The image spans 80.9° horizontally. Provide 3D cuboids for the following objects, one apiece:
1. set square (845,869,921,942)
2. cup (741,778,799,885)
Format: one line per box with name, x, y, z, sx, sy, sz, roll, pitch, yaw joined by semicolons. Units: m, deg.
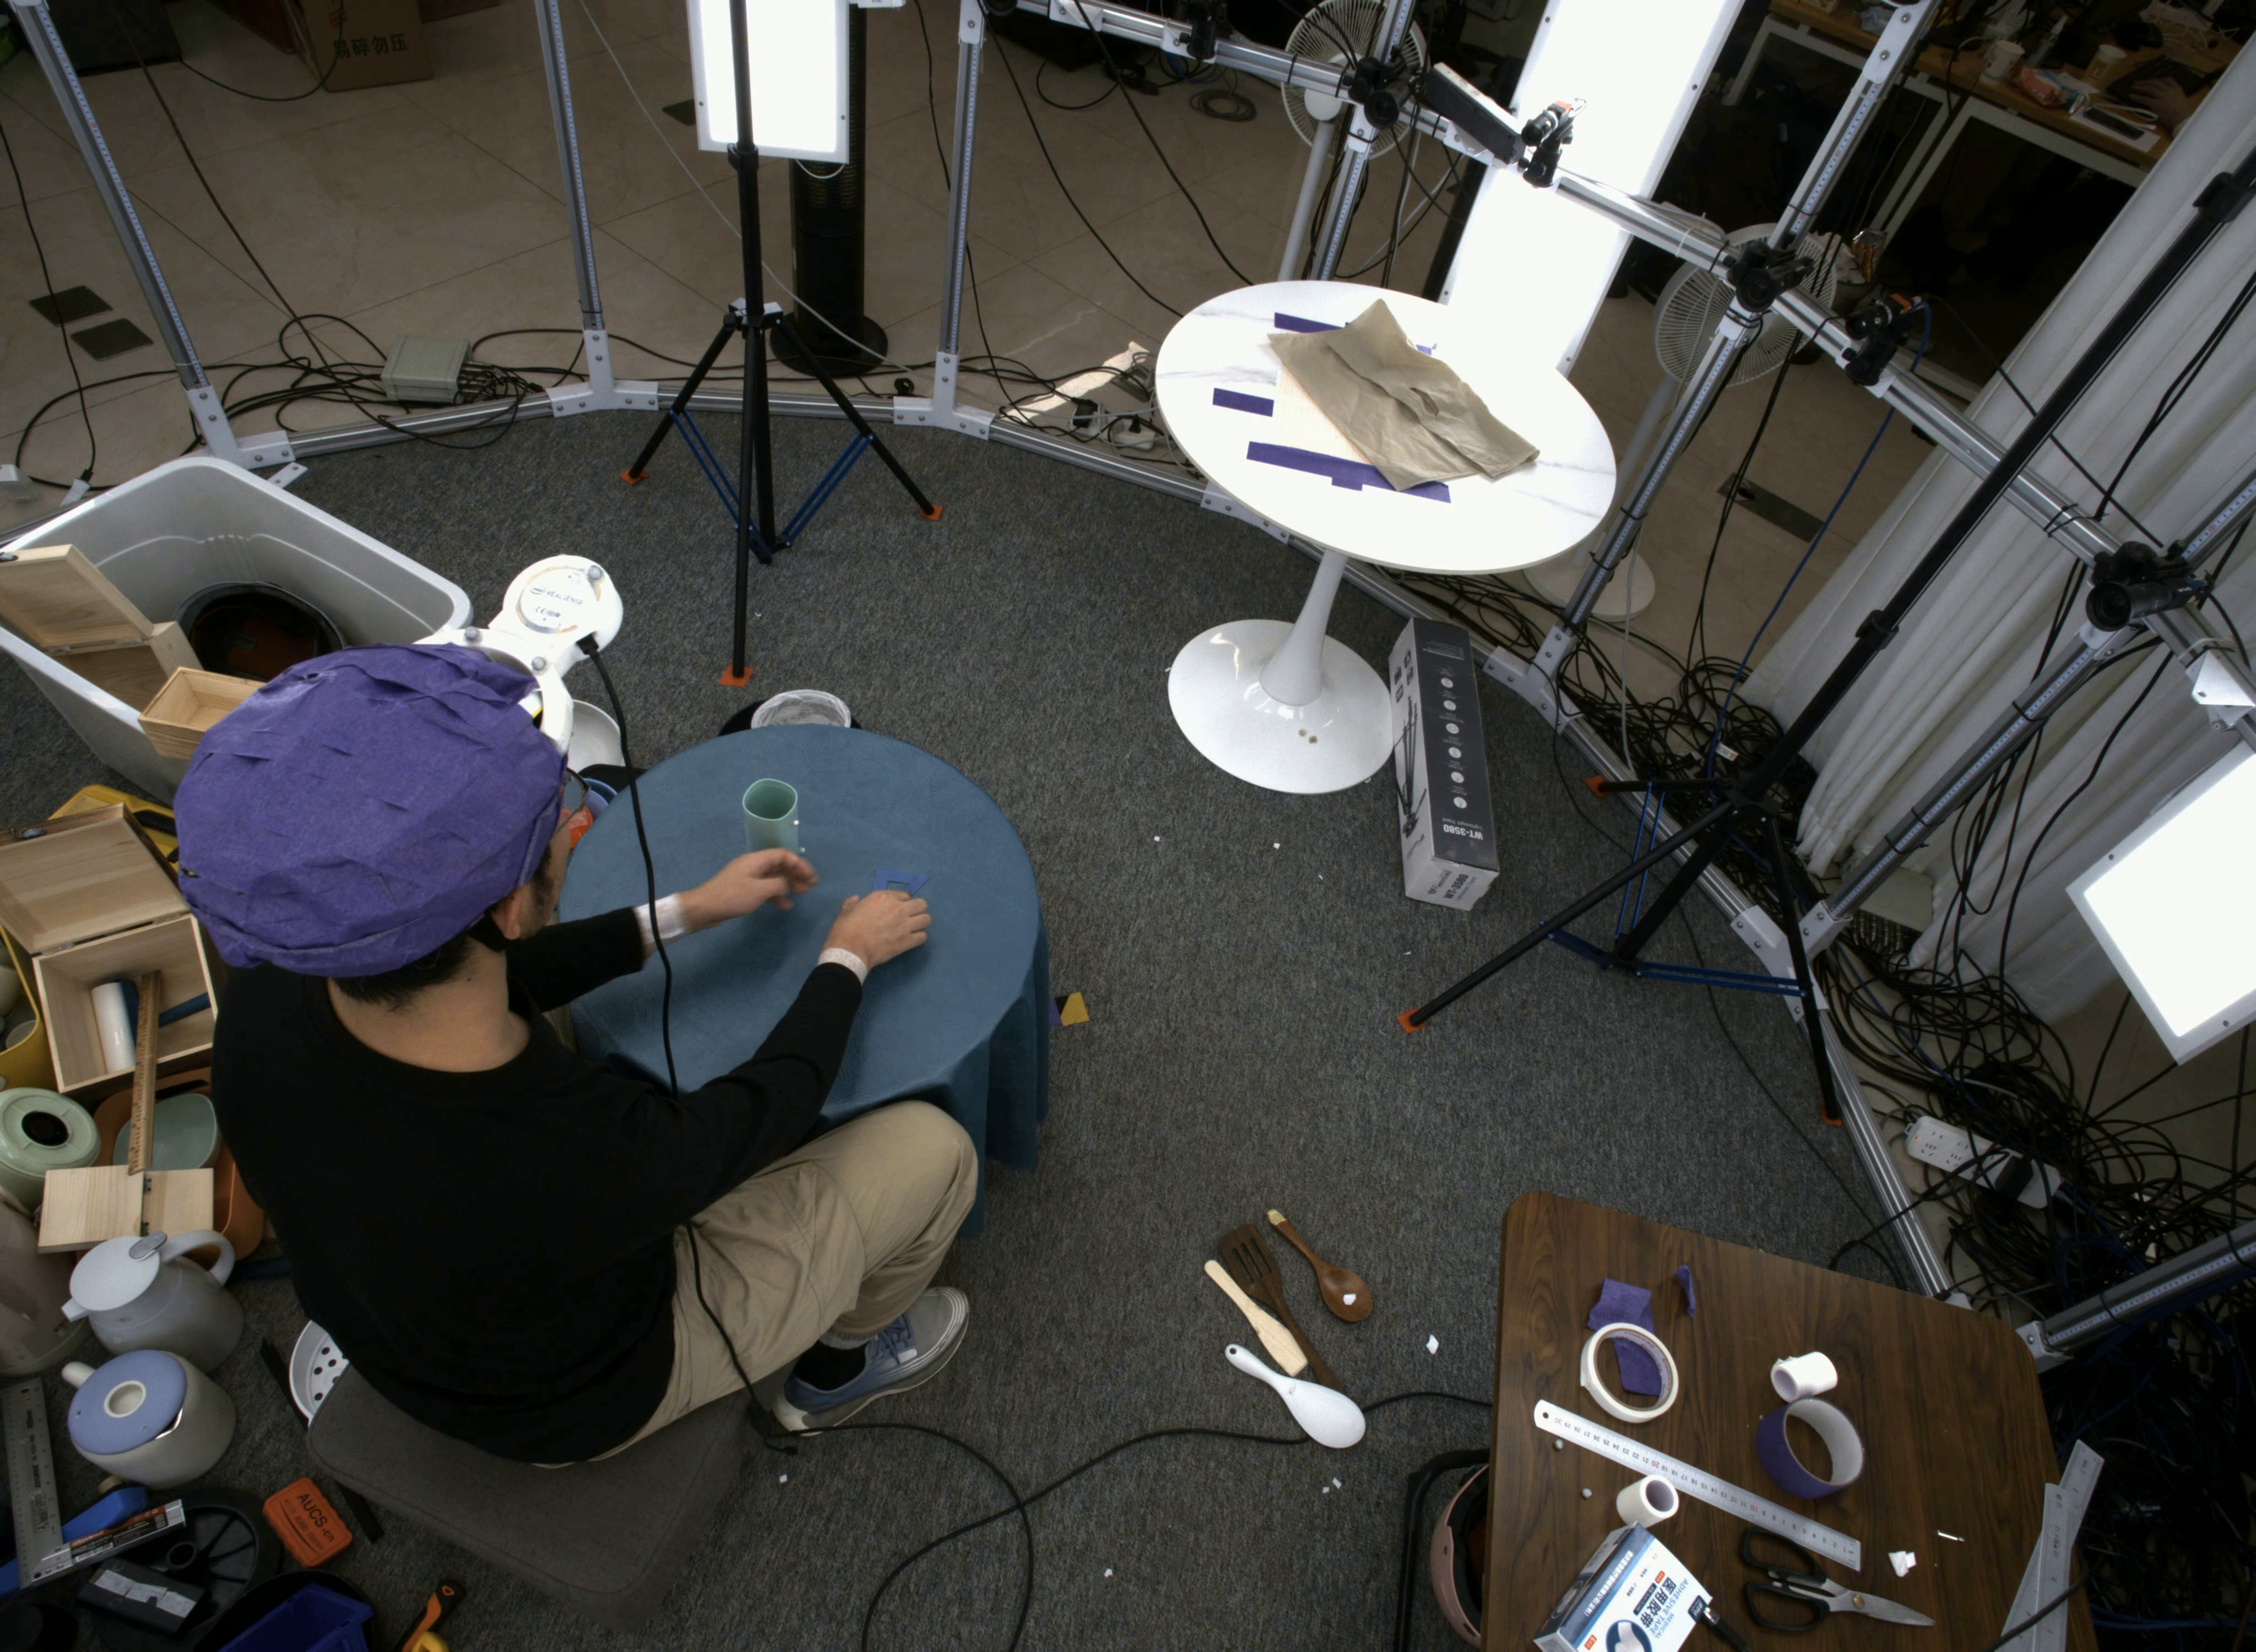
set square;-0.330;0.092;1.671;0.060;0.006;0.132;38;53;10
cup;-0.449;0.008;1.627;0.066;0.135;0.065;7;51;-7
